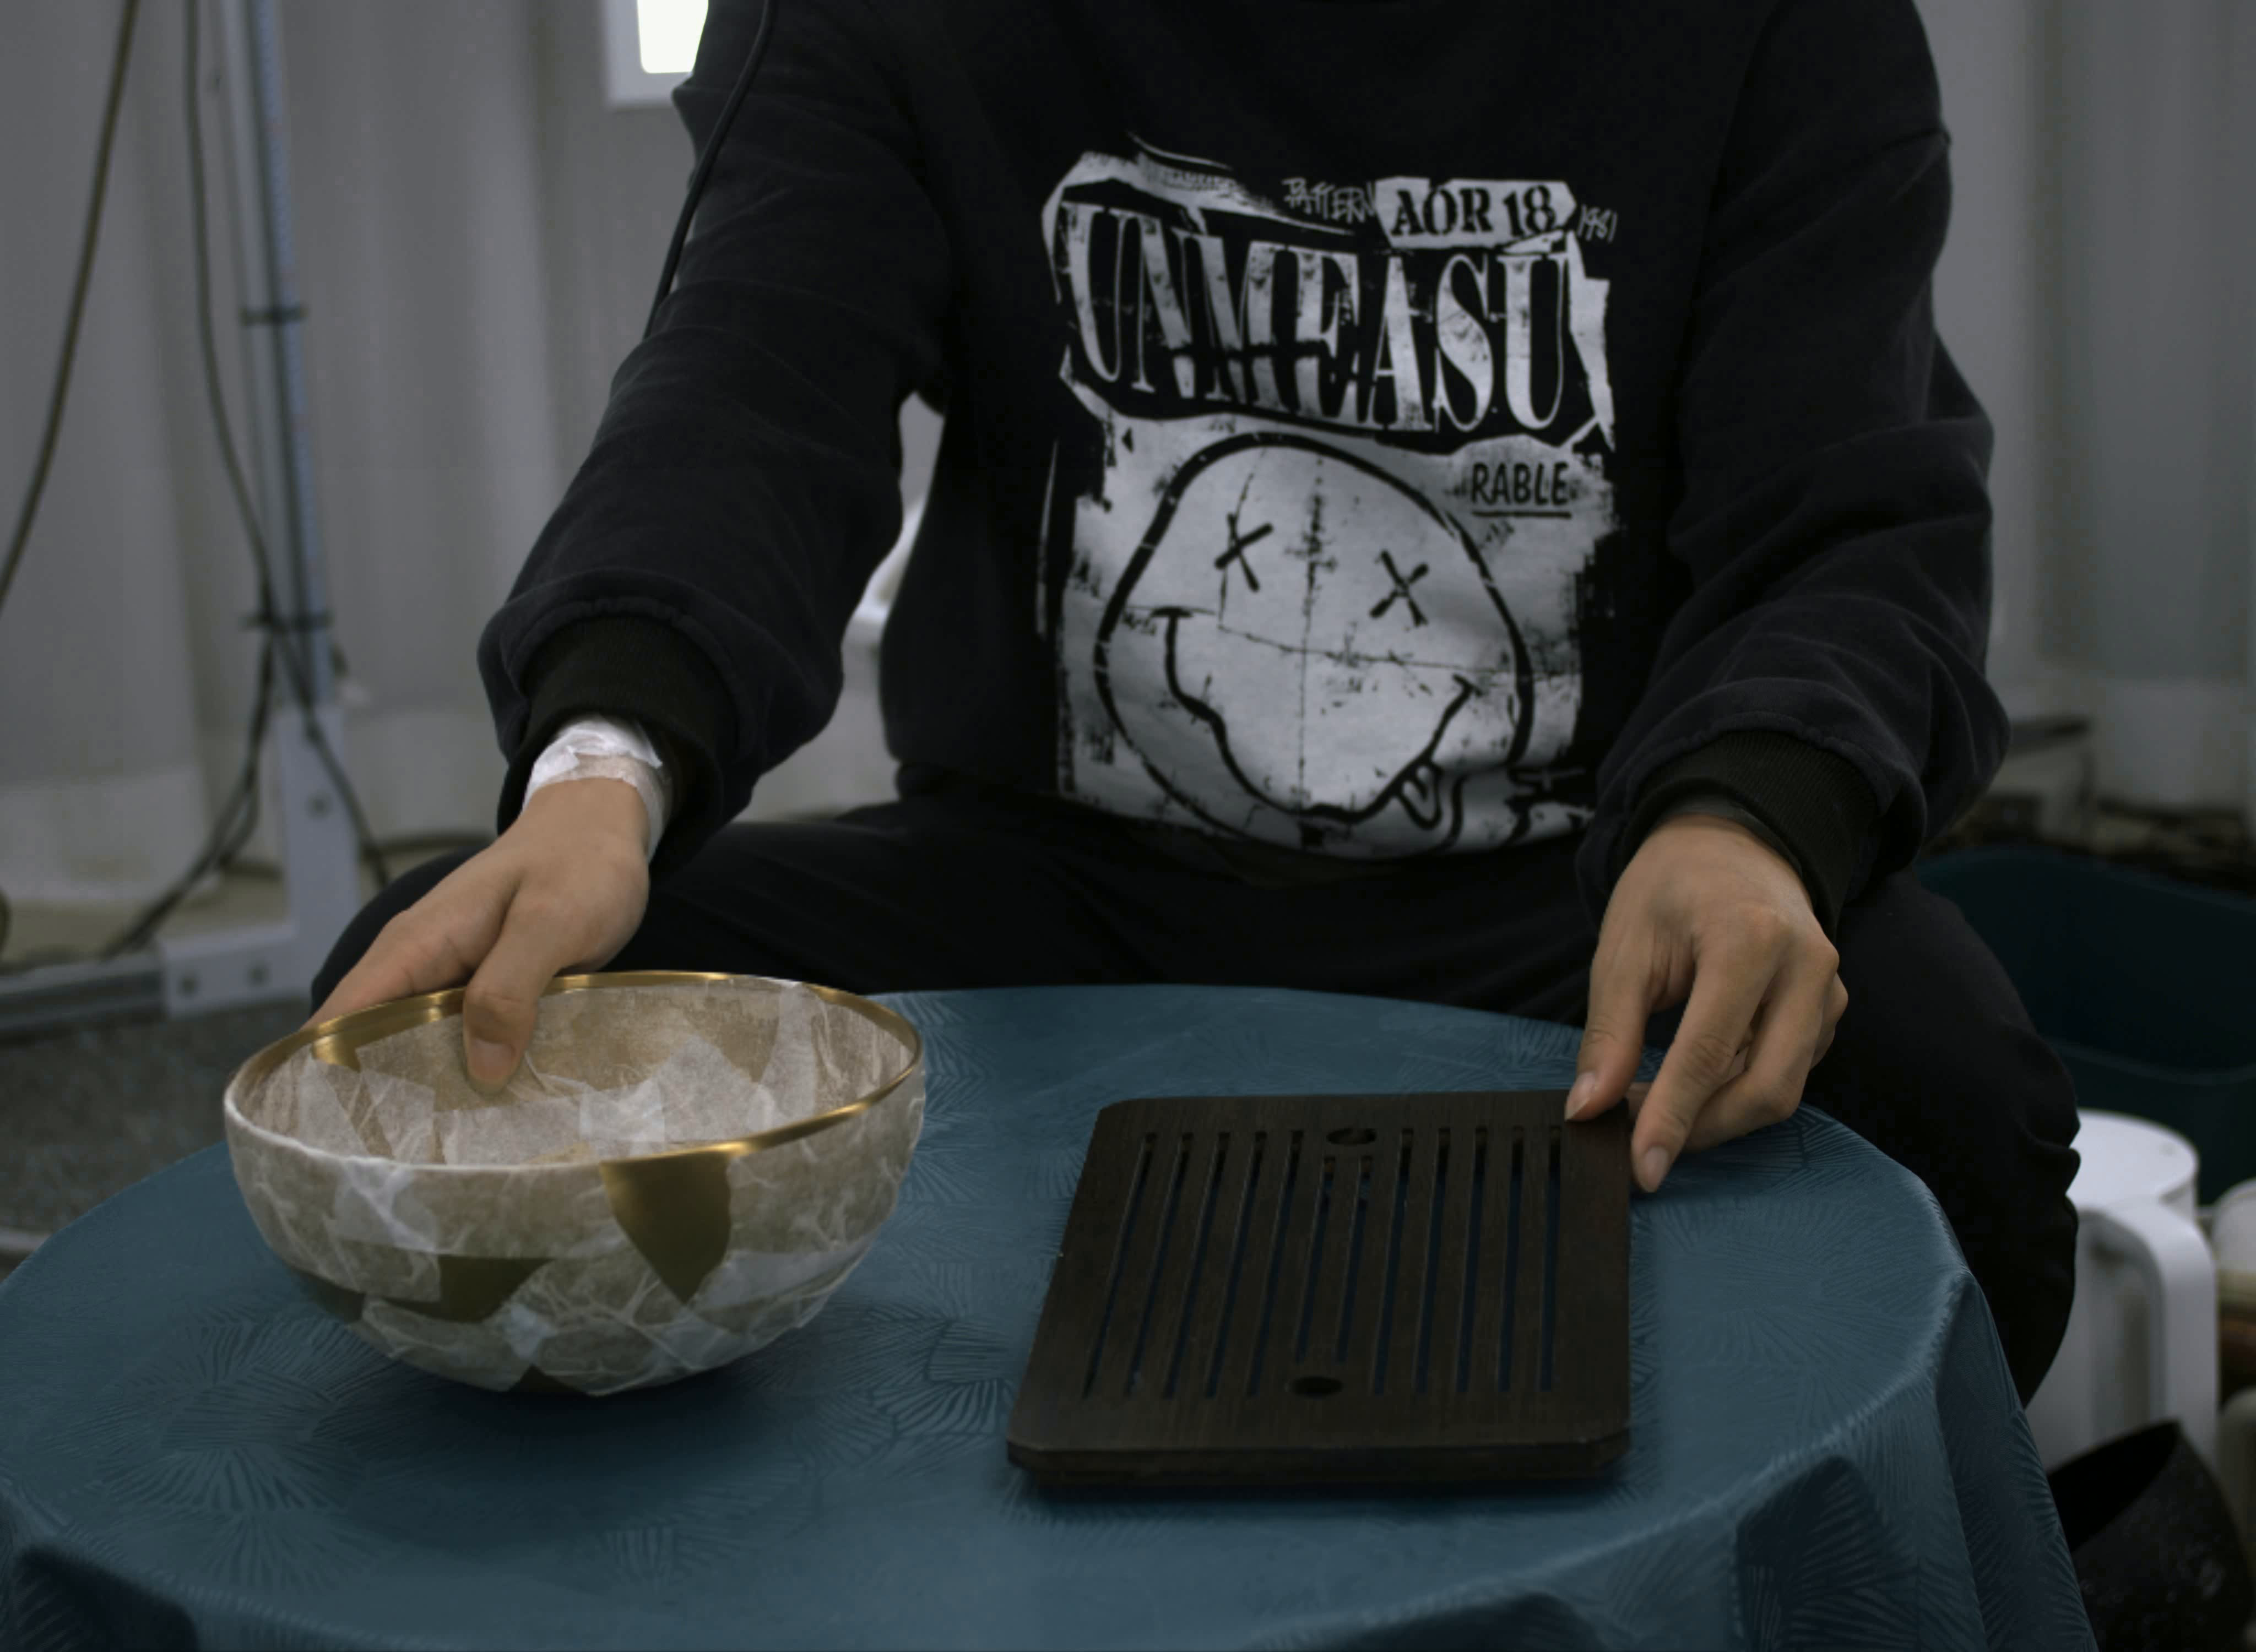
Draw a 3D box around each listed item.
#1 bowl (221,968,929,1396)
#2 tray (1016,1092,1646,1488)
[{"bbox_3d":[-0.153,0.110,1.582,0.214,0.094,0.216,-3,13,0],"label":"bowl"},{"bbox_3d":[0.066,0.133,1.599,0.170,0.018,0.308,-1,15,5],"label":"tray"}]
